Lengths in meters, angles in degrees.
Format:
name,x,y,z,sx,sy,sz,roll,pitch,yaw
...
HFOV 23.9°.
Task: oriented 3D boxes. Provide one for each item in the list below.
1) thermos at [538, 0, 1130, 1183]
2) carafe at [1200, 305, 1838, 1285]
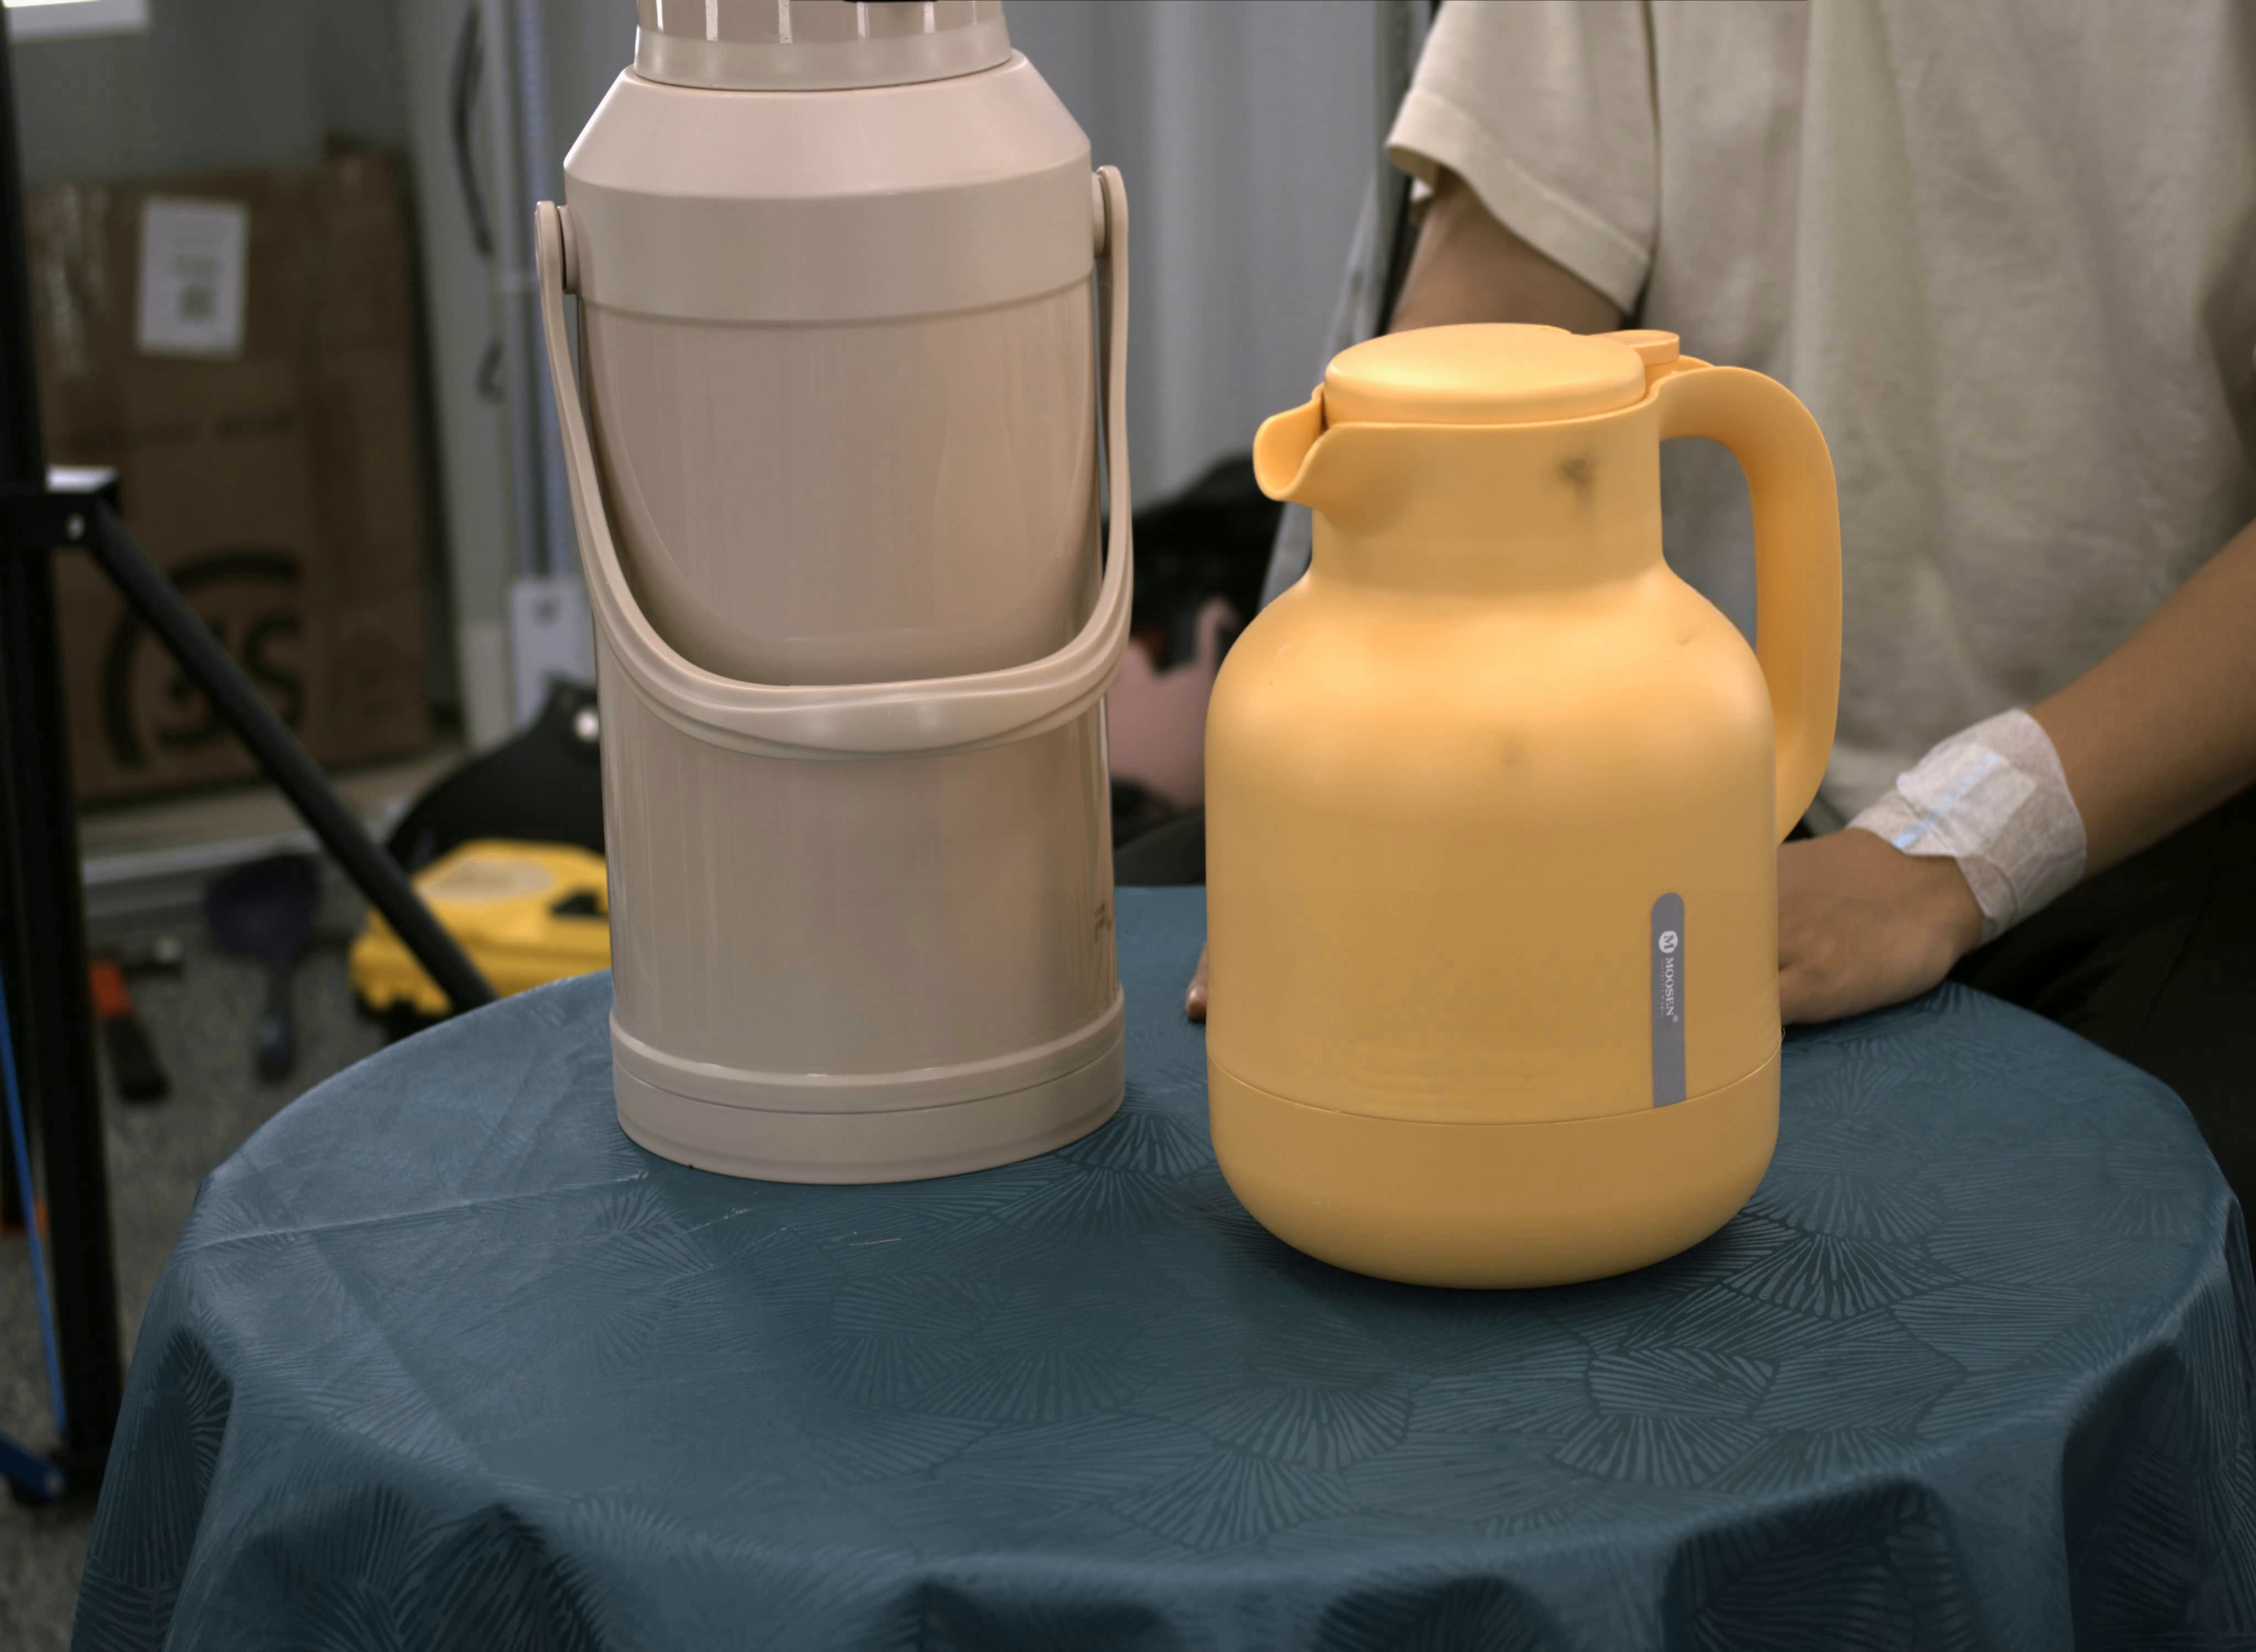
name,x,y,z,sx,sy,sz,roll,pitch,yaw
thermos,-0.087,-0.110,1.615,0.173,0.406,0.209,-5,16,-9
carafe,0.118,-0.015,1.492,0.198,0.260,0.167,-12,20,-30
